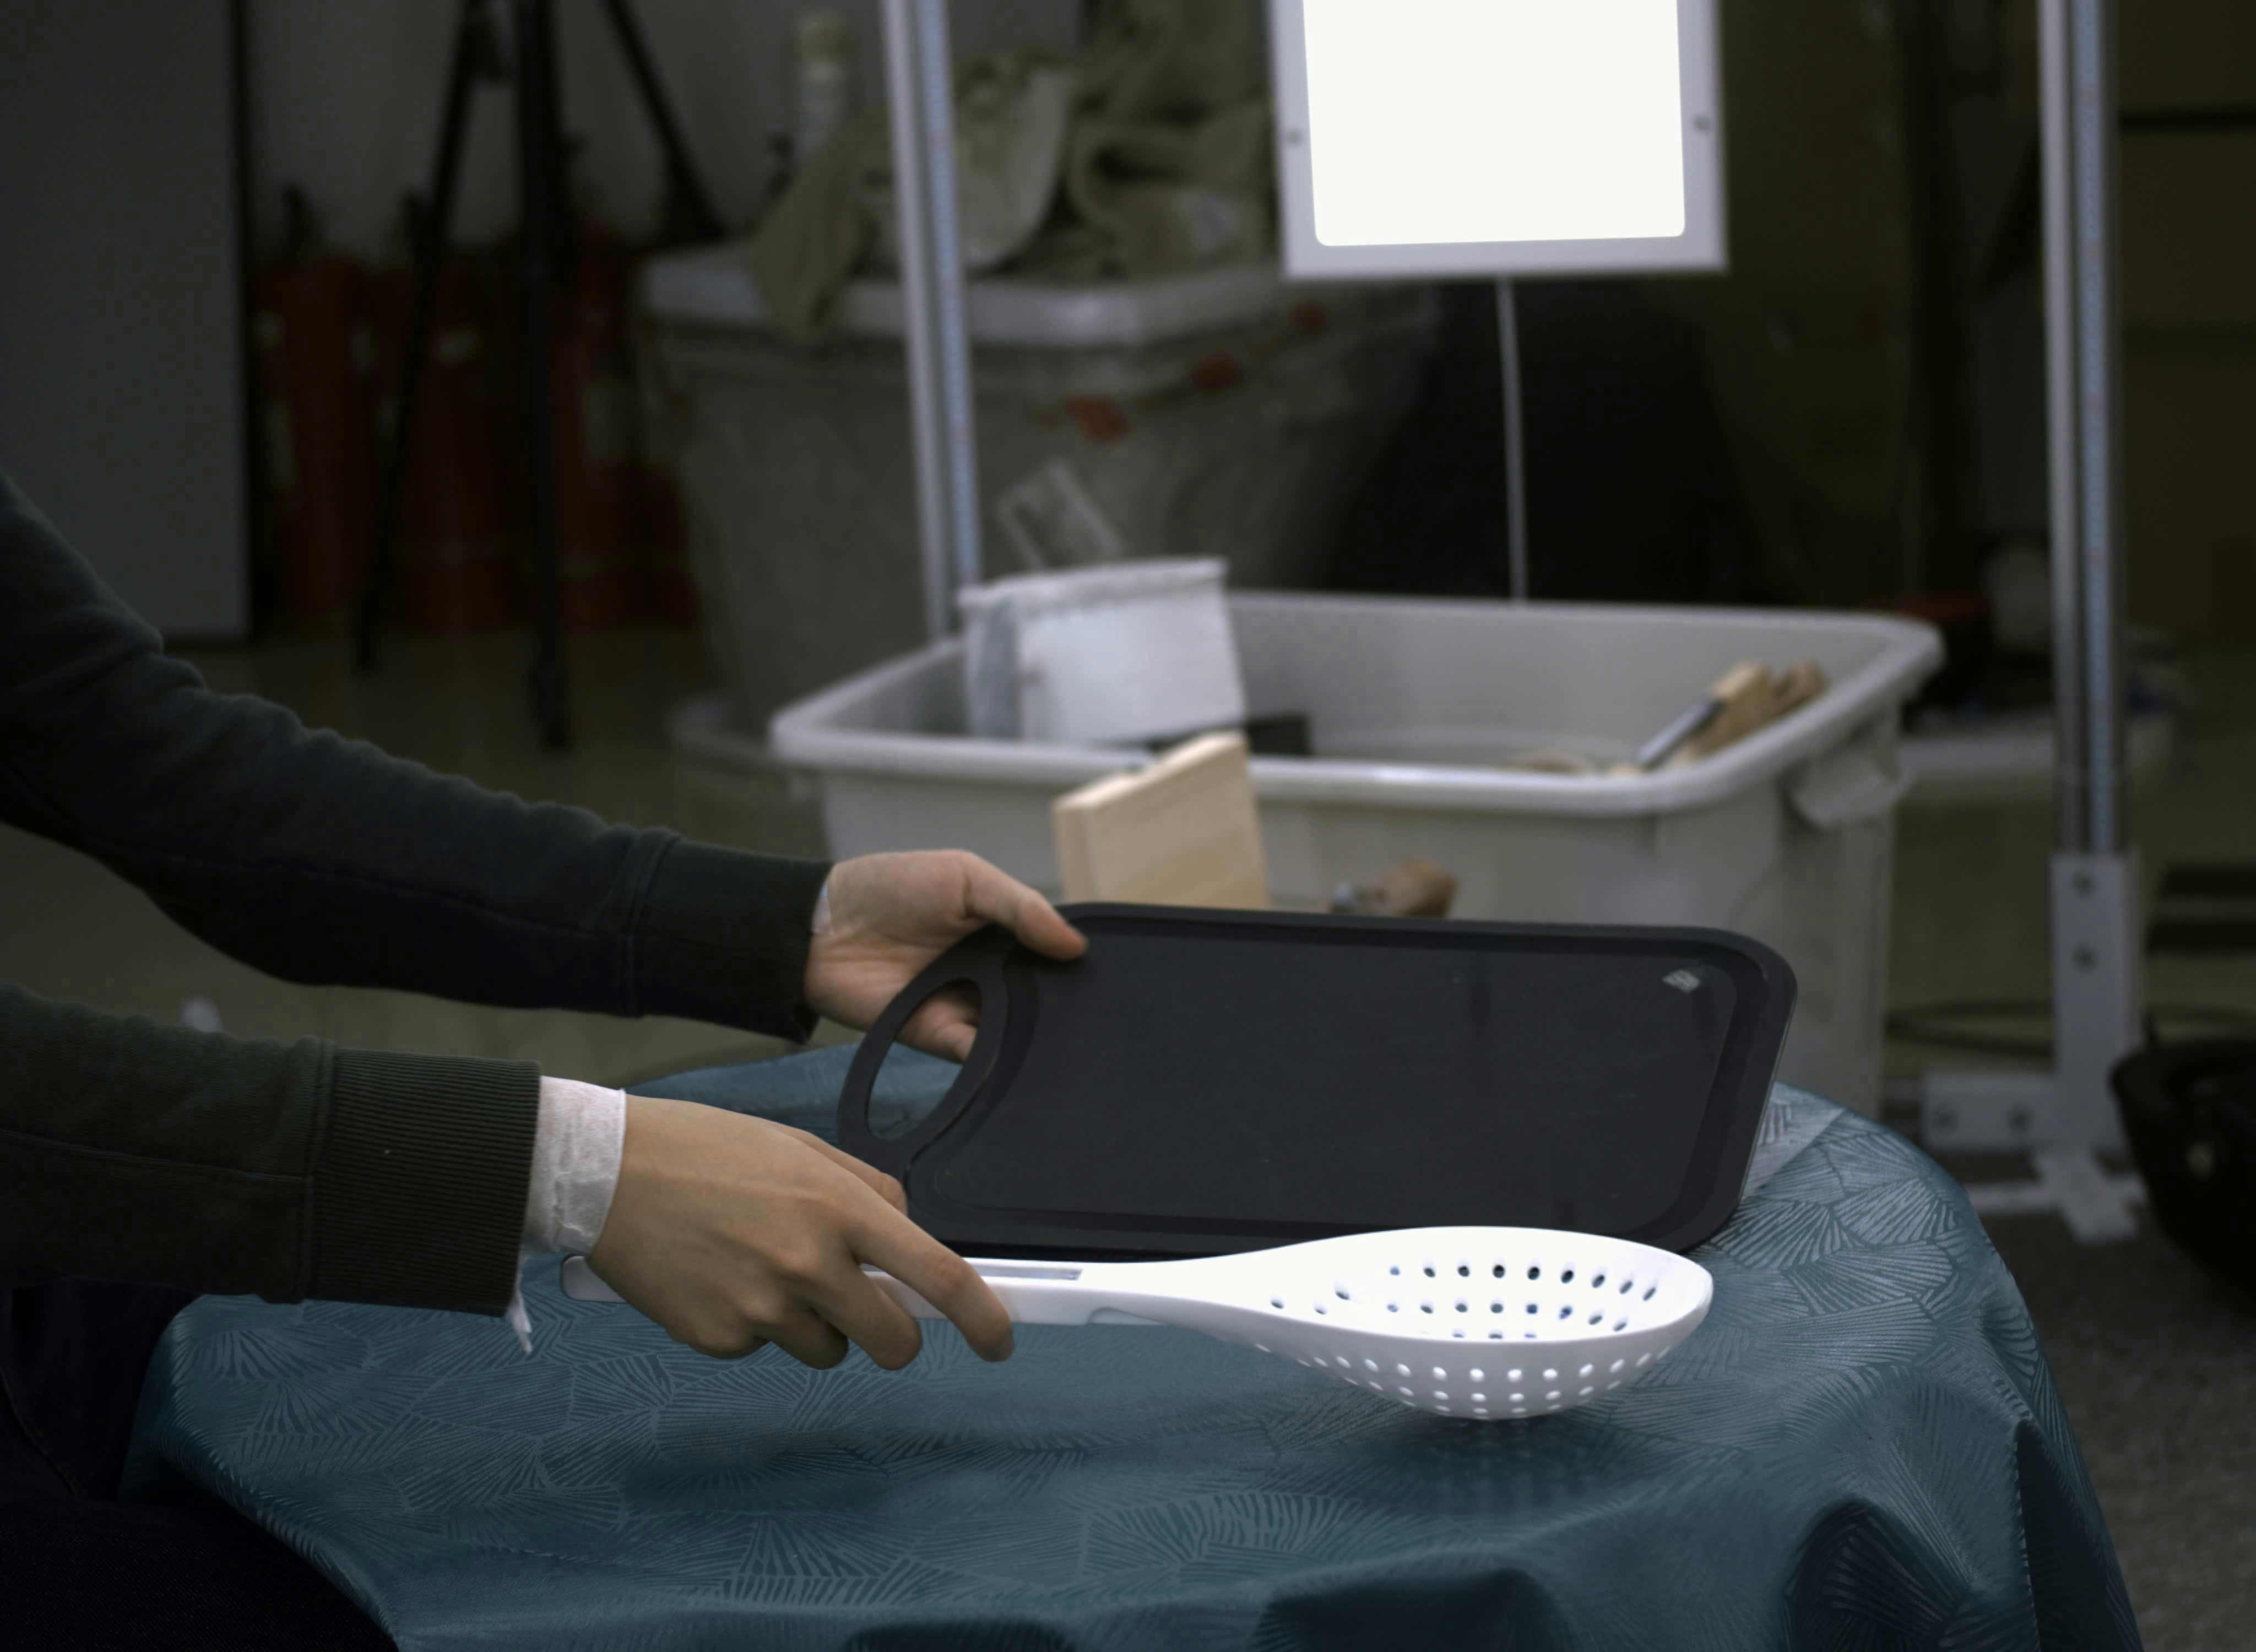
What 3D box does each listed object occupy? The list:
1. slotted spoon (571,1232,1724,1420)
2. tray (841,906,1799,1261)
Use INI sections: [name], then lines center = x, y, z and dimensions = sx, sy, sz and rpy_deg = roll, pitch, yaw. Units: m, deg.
[slotted spoon]
center = 0.004, 0.140, 1.662
dimensions = 0.351, 0.046, 0.135
rpy_deg = 6, 9, 9
[tray]
center = 0.061, 0.085, 1.892
dimensions = 0.329, 0.010, 0.208
rpy_deg = 1, 32, 18
